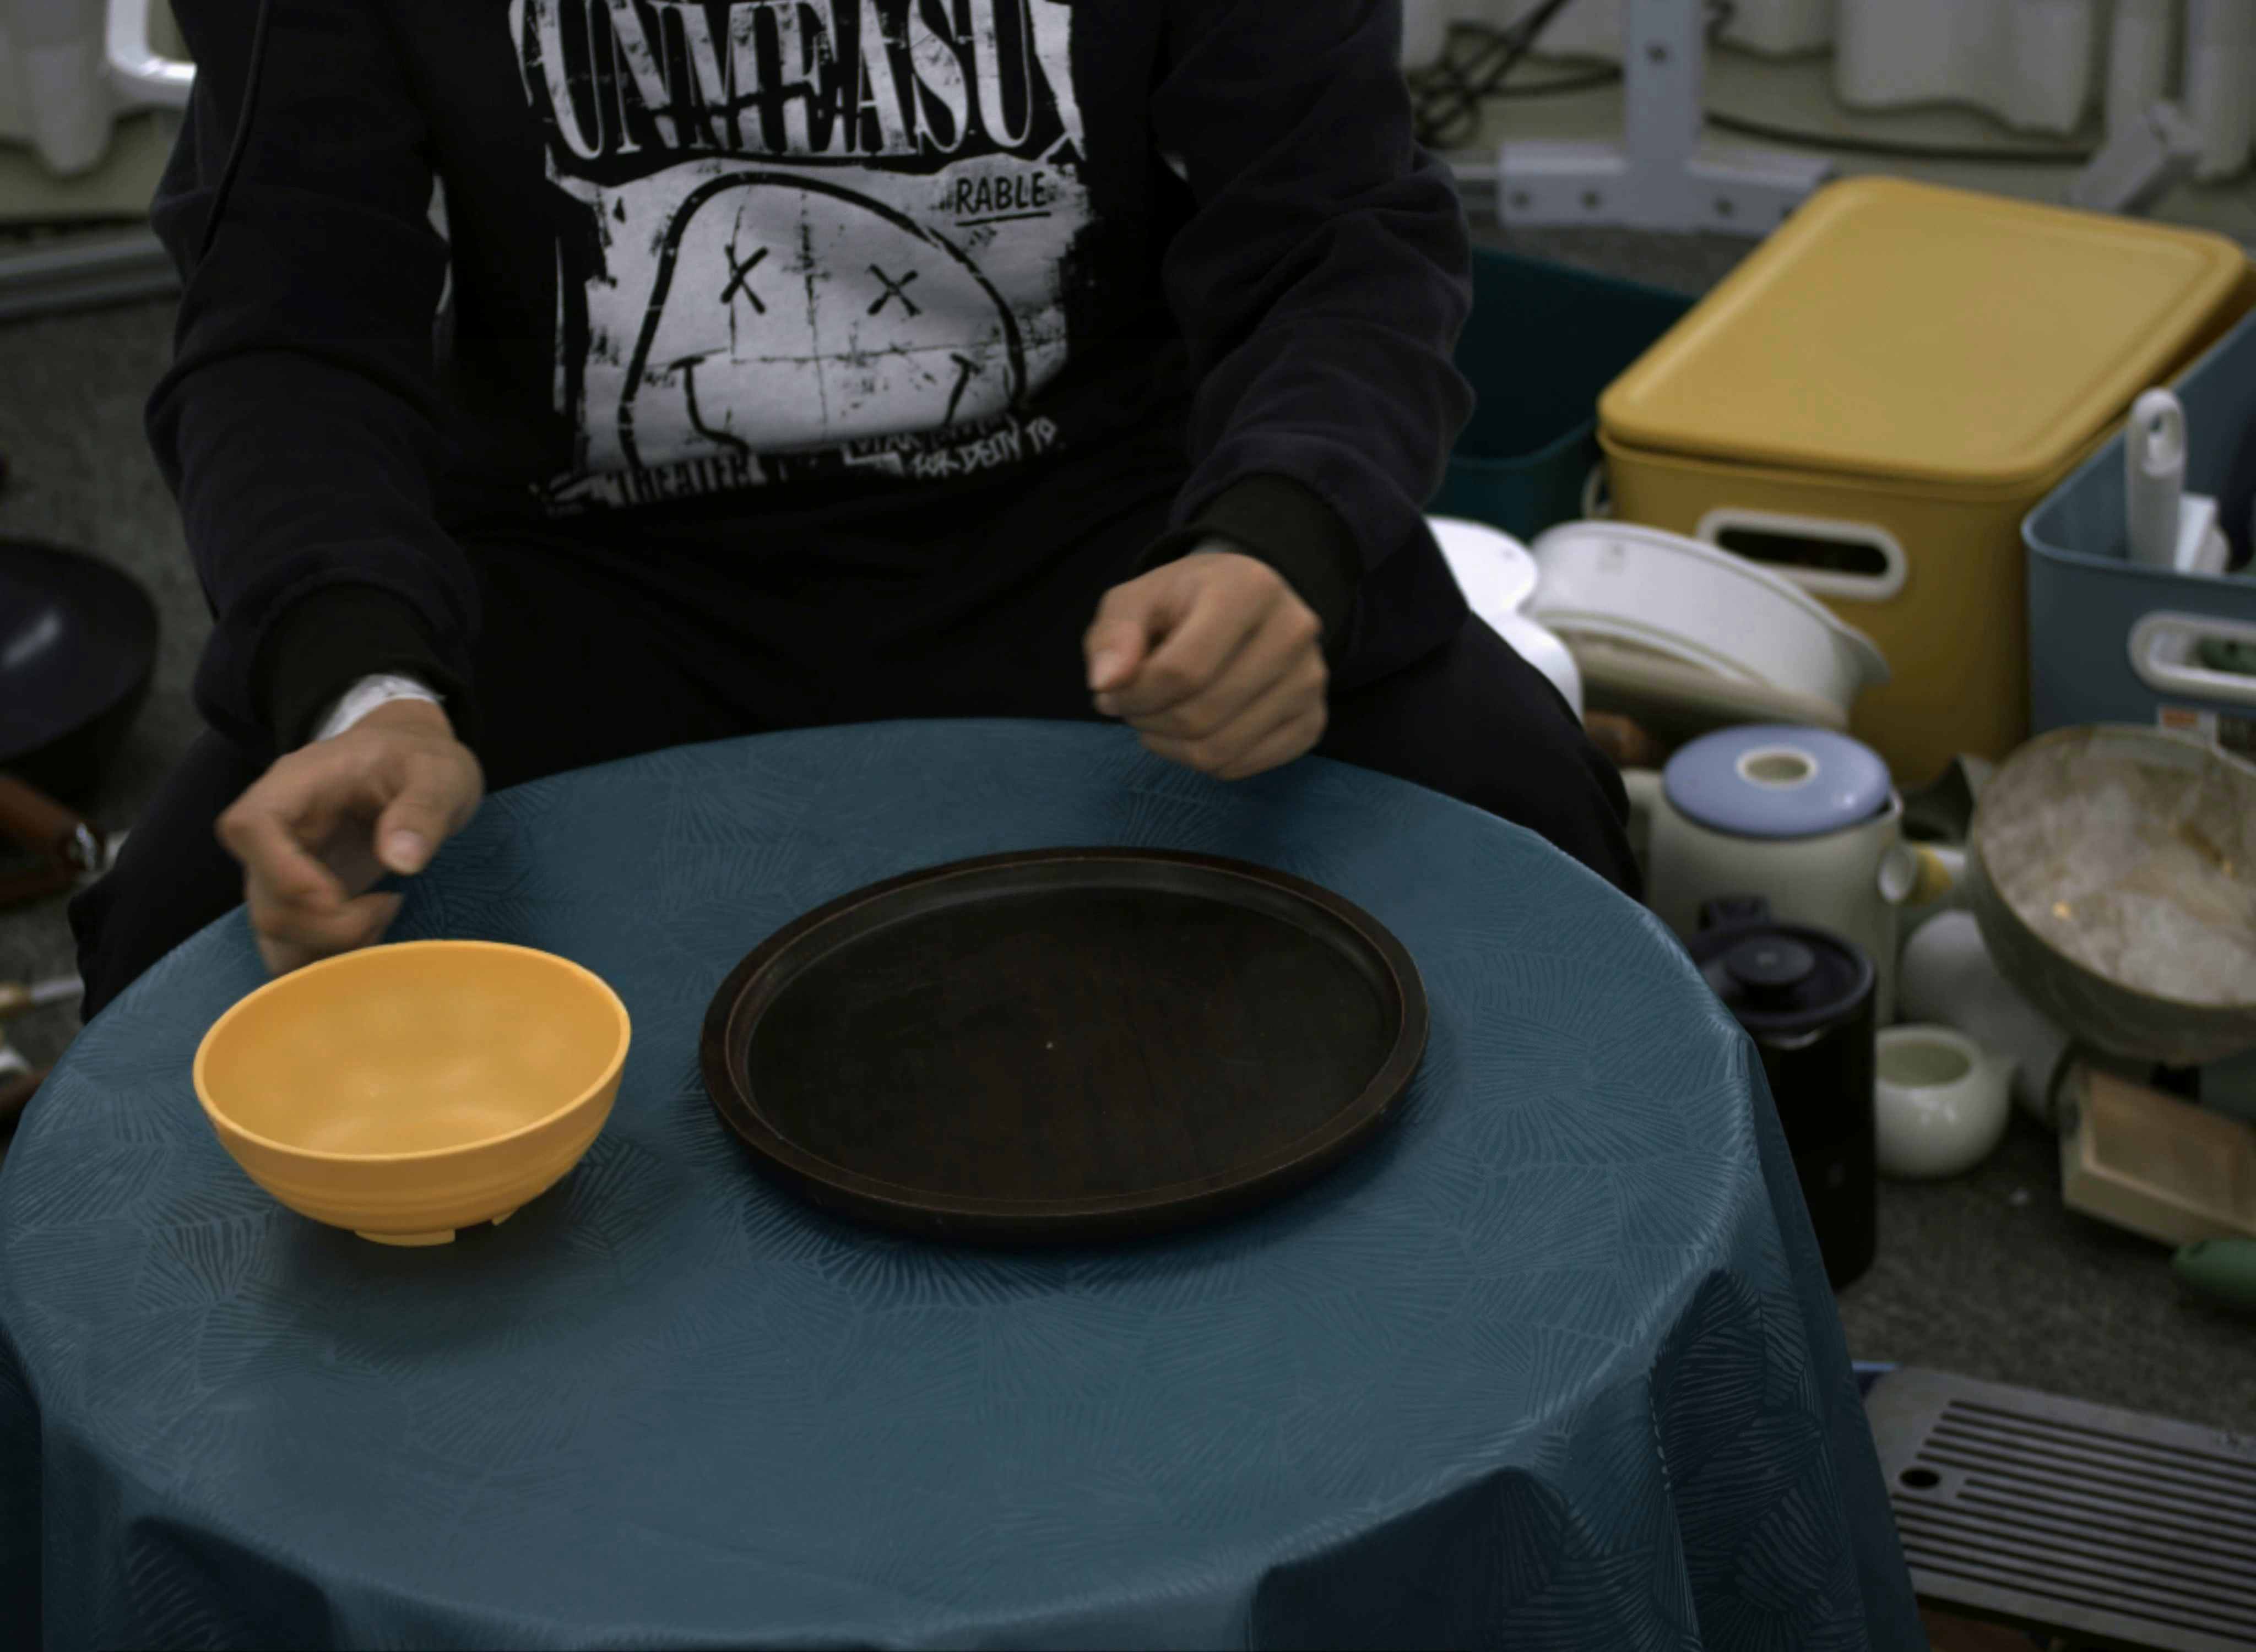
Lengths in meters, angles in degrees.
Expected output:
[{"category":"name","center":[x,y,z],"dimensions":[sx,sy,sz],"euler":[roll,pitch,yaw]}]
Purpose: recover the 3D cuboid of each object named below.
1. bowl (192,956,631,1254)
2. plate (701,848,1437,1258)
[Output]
[{"category":"bowl","center":[-0.236,0.101,1.865],"dimensions":[0.144,0.059,0.147],"euler":[-1,24,1]},{"category":"plate","center":[-0.020,0.076,1.927],"dimensions":[0.253,0.029,0.258],"euler":[-4,27,2]}]
